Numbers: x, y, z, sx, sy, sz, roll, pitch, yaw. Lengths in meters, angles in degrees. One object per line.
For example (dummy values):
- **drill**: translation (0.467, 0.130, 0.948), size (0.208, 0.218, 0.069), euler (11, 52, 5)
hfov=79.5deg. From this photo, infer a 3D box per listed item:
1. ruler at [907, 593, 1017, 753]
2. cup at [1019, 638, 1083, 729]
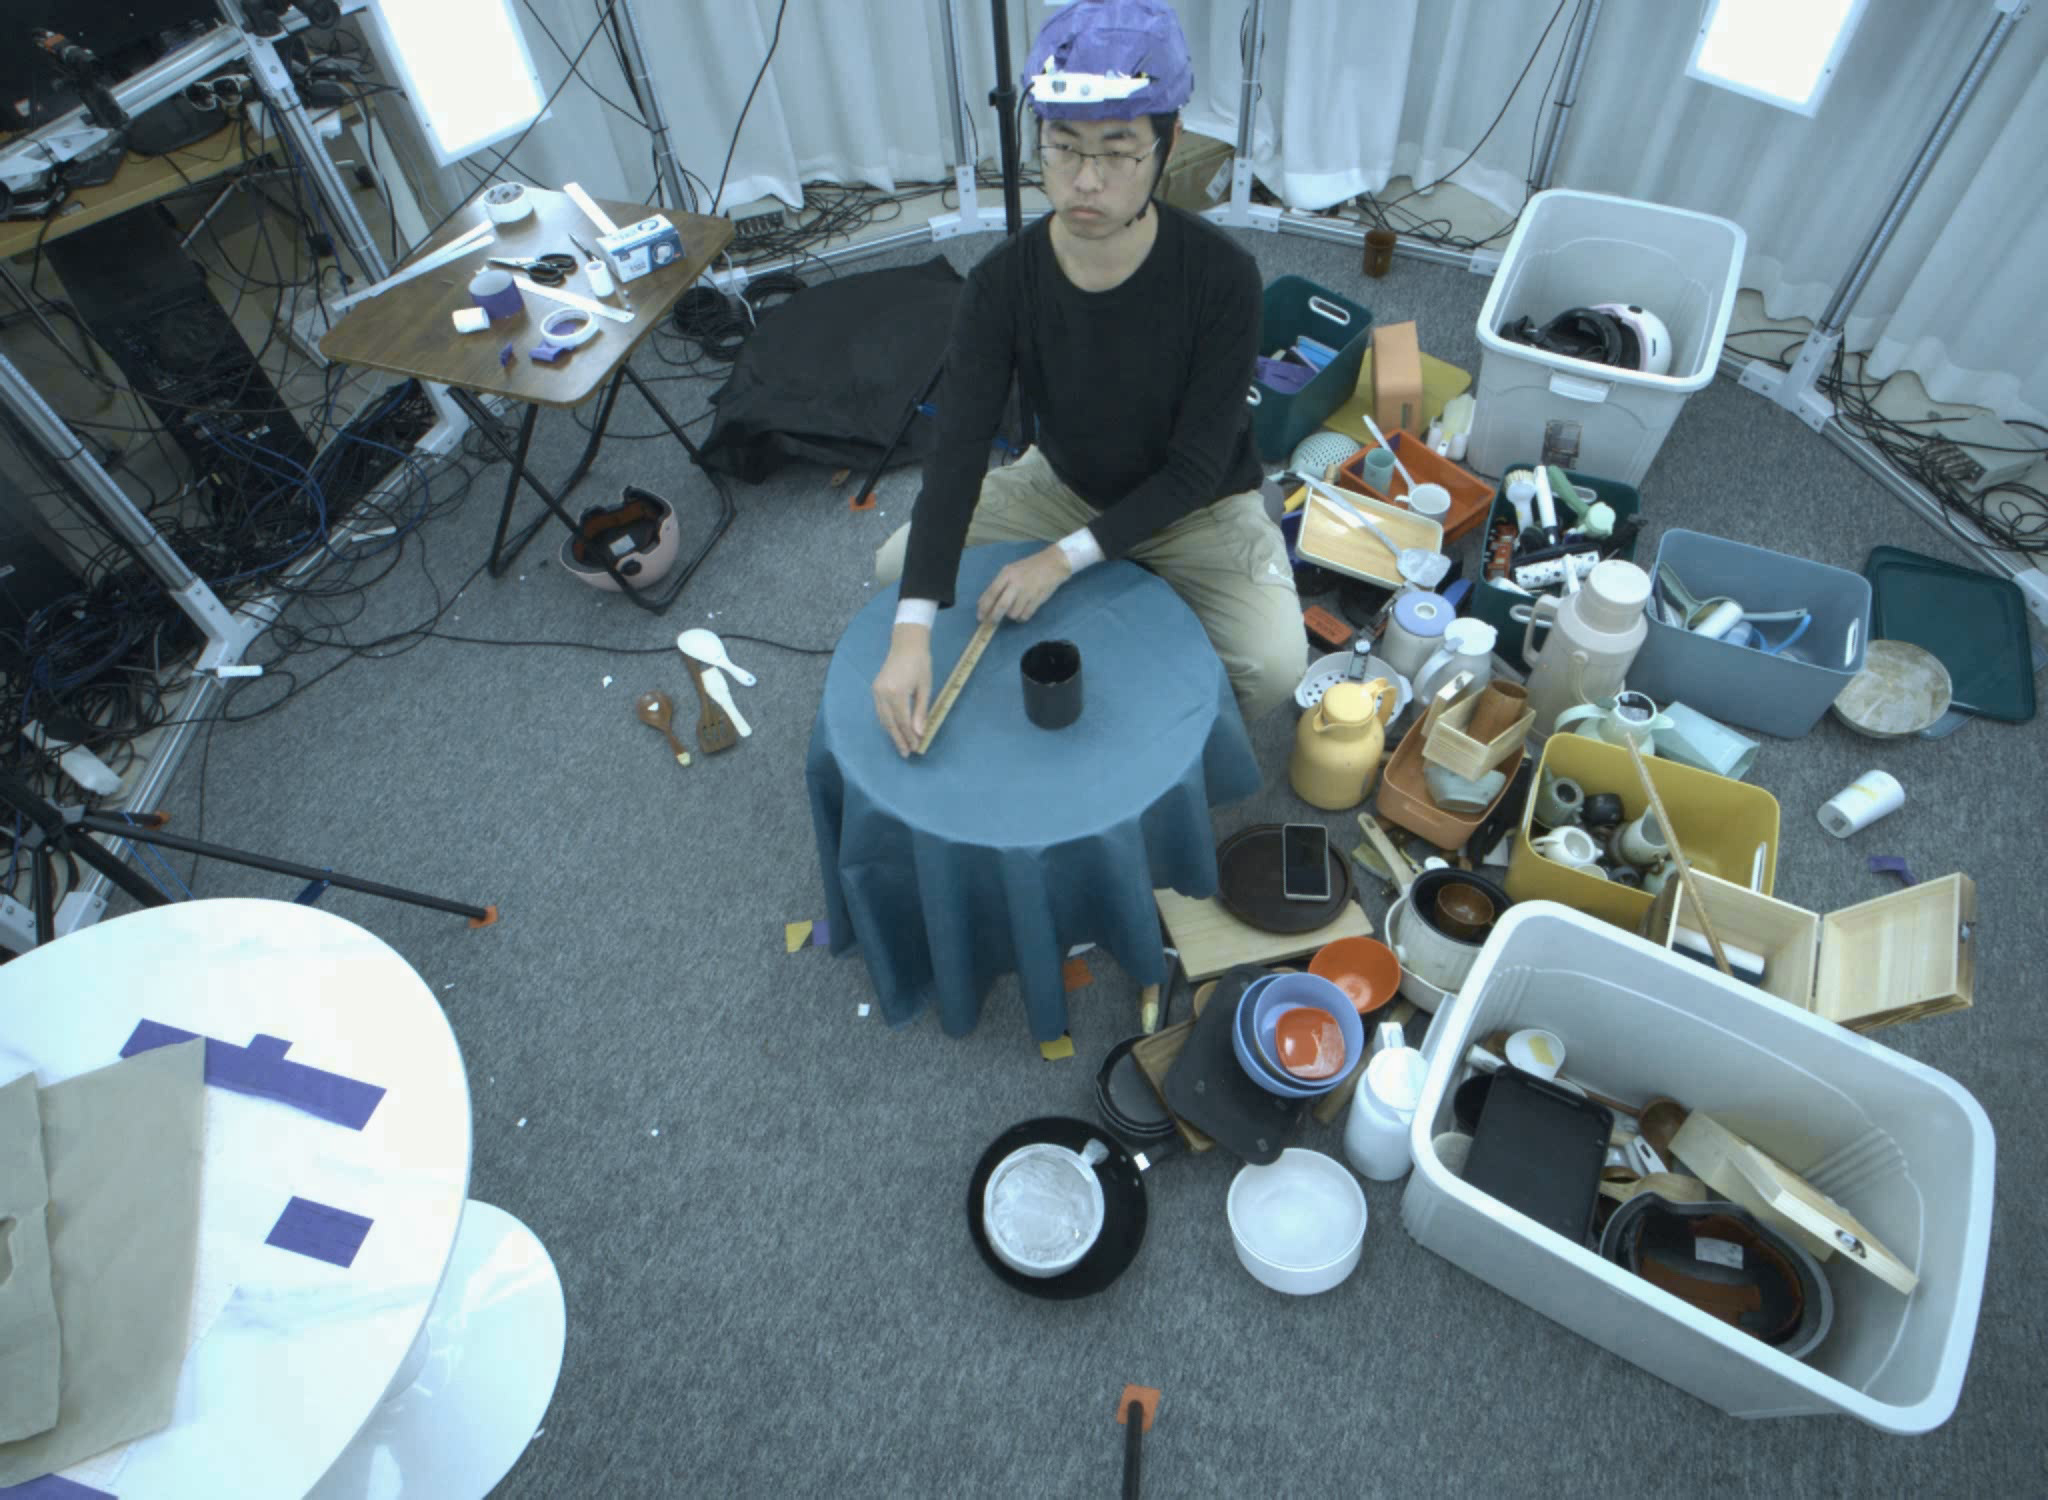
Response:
- **ruler**: translation (-0.091, -0.125, 1.852), size (0.027, 0.022, 0.332), euler (22, 57, 11)
- **cup**: translation (0.046, -0.109, 1.801), size (0.088, 0.106, 0.123), euler (13, 56, 14)
